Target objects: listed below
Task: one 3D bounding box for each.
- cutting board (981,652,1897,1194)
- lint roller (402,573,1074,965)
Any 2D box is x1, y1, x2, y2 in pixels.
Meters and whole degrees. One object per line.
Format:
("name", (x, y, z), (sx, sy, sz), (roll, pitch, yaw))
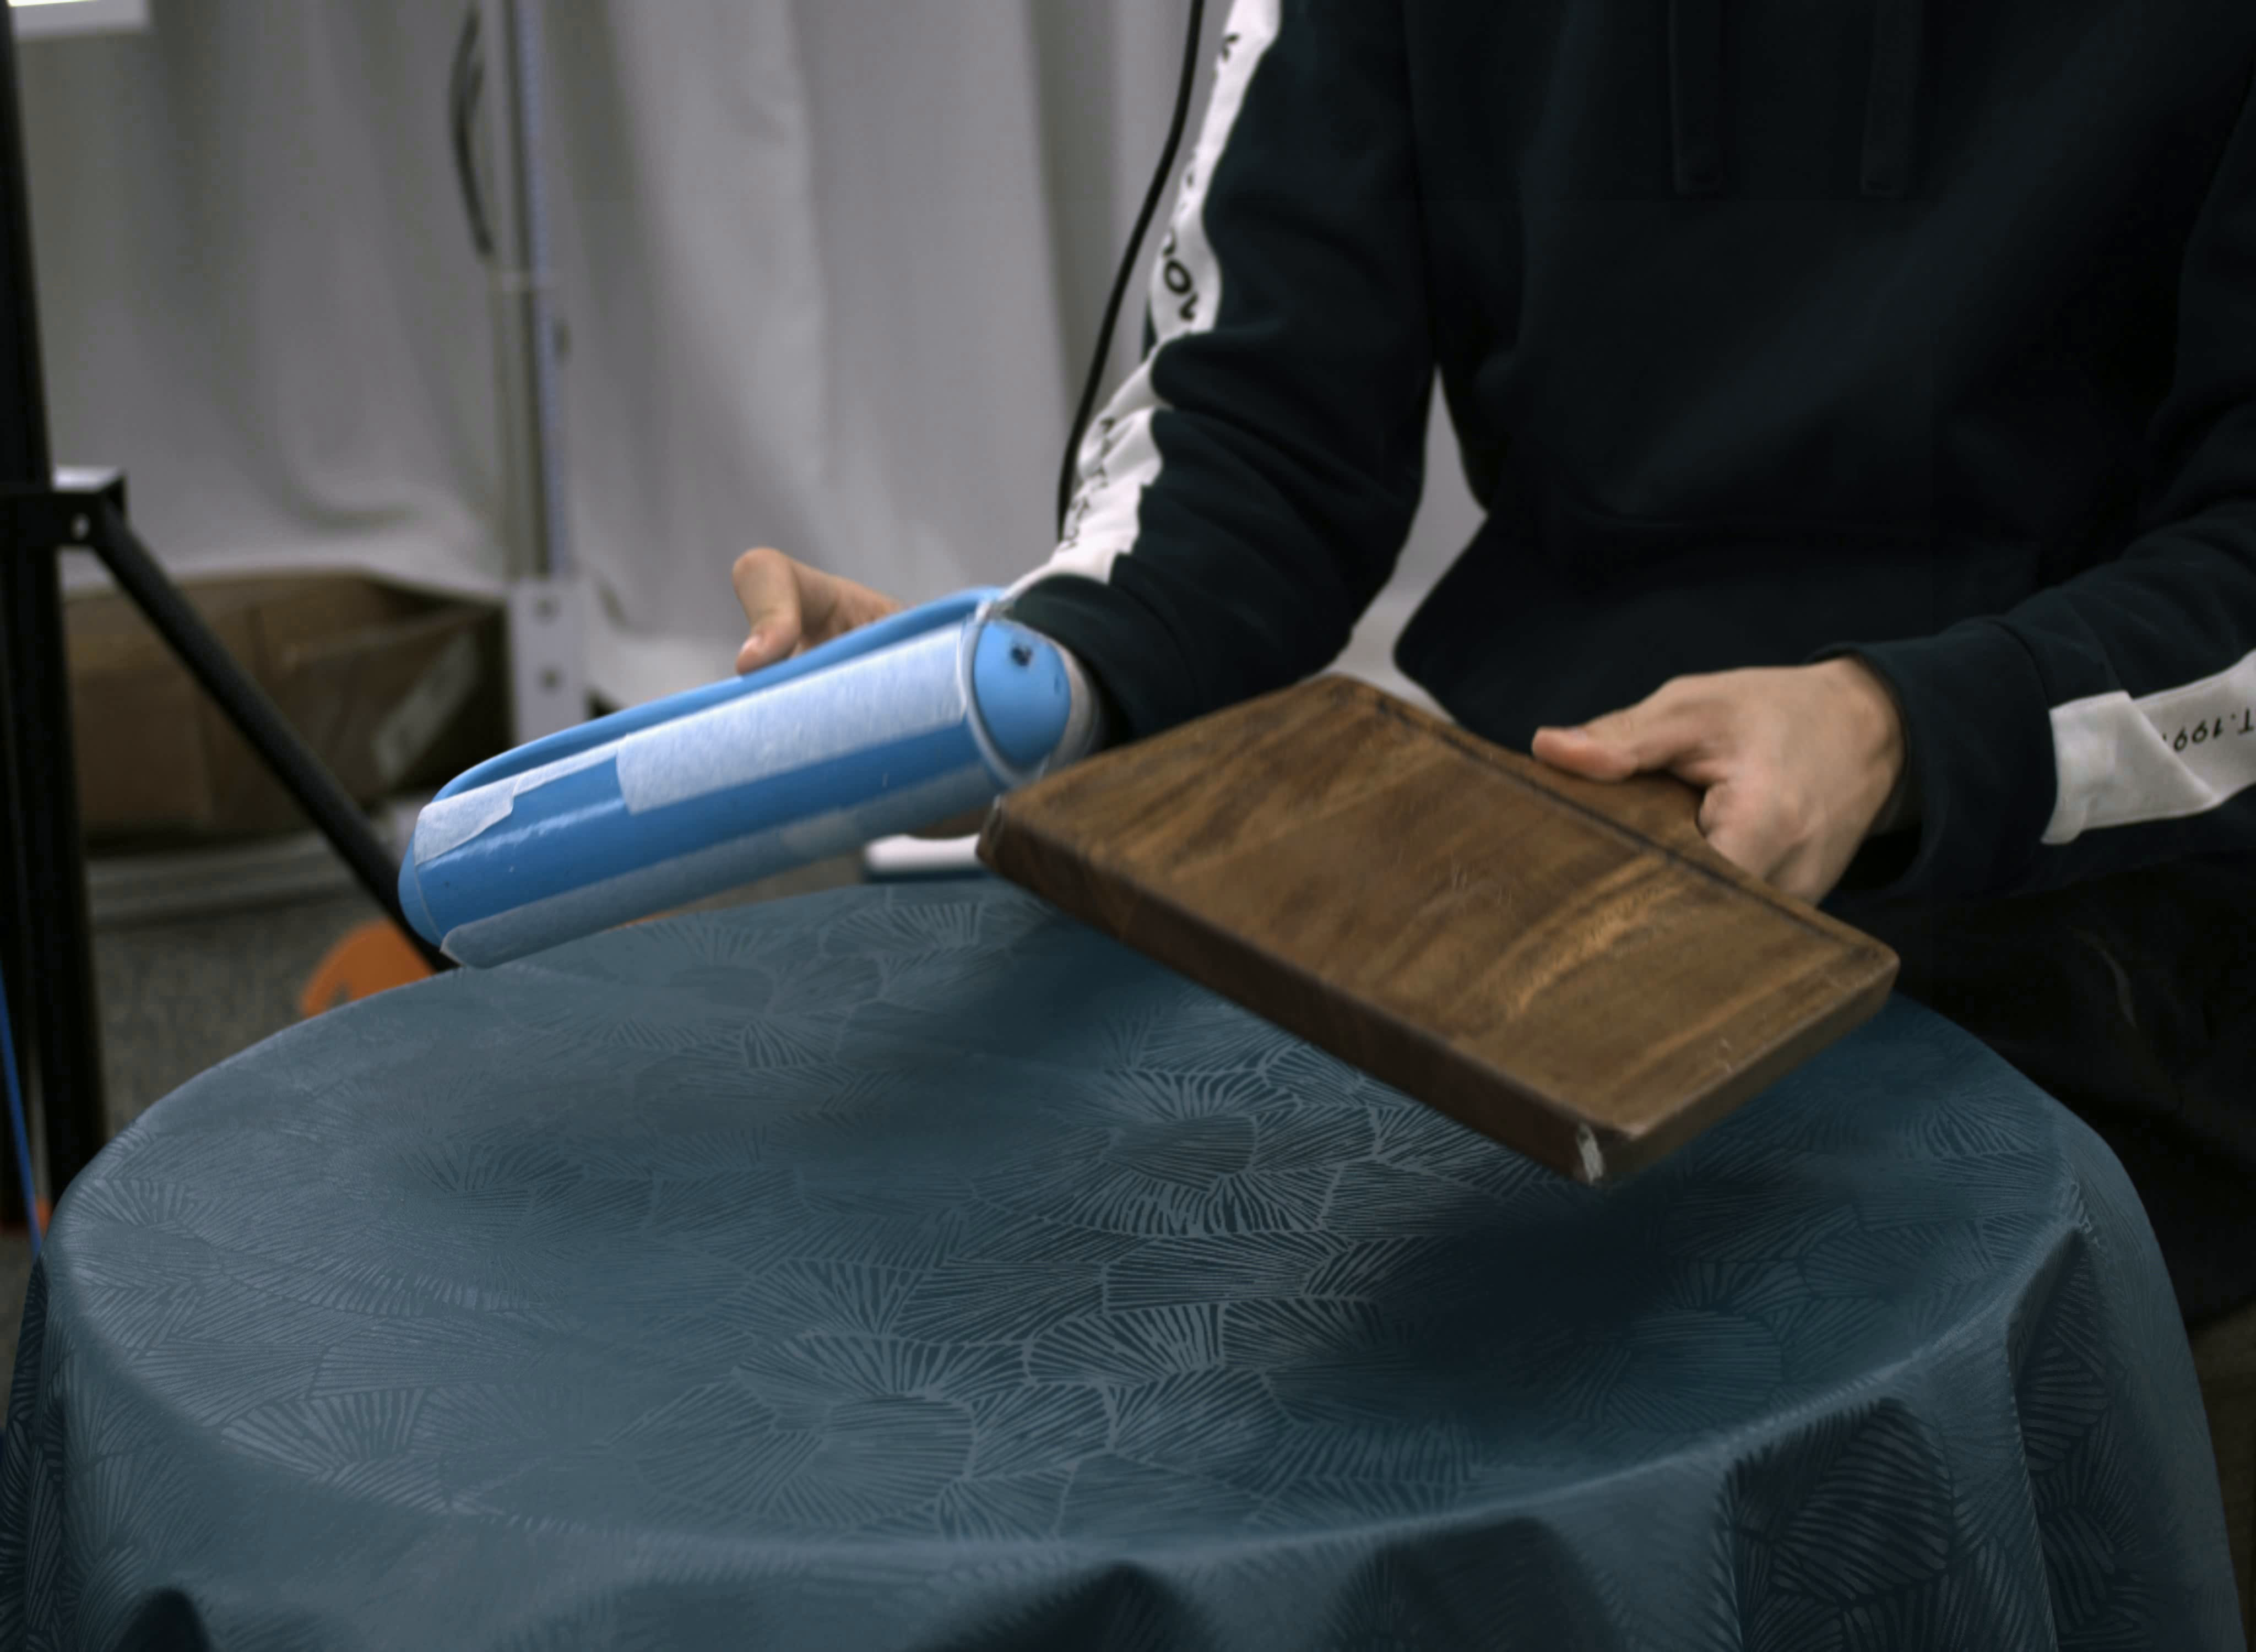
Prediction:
("cutting board", (0.112, 0.012, 1.502), (0.203, 0.023, 0.346), (28, 20, 18))
("lint roller", (-0.101, -0.021, 1.647), (0.231, 0.068, 0.178), (-21, 1, 21))
